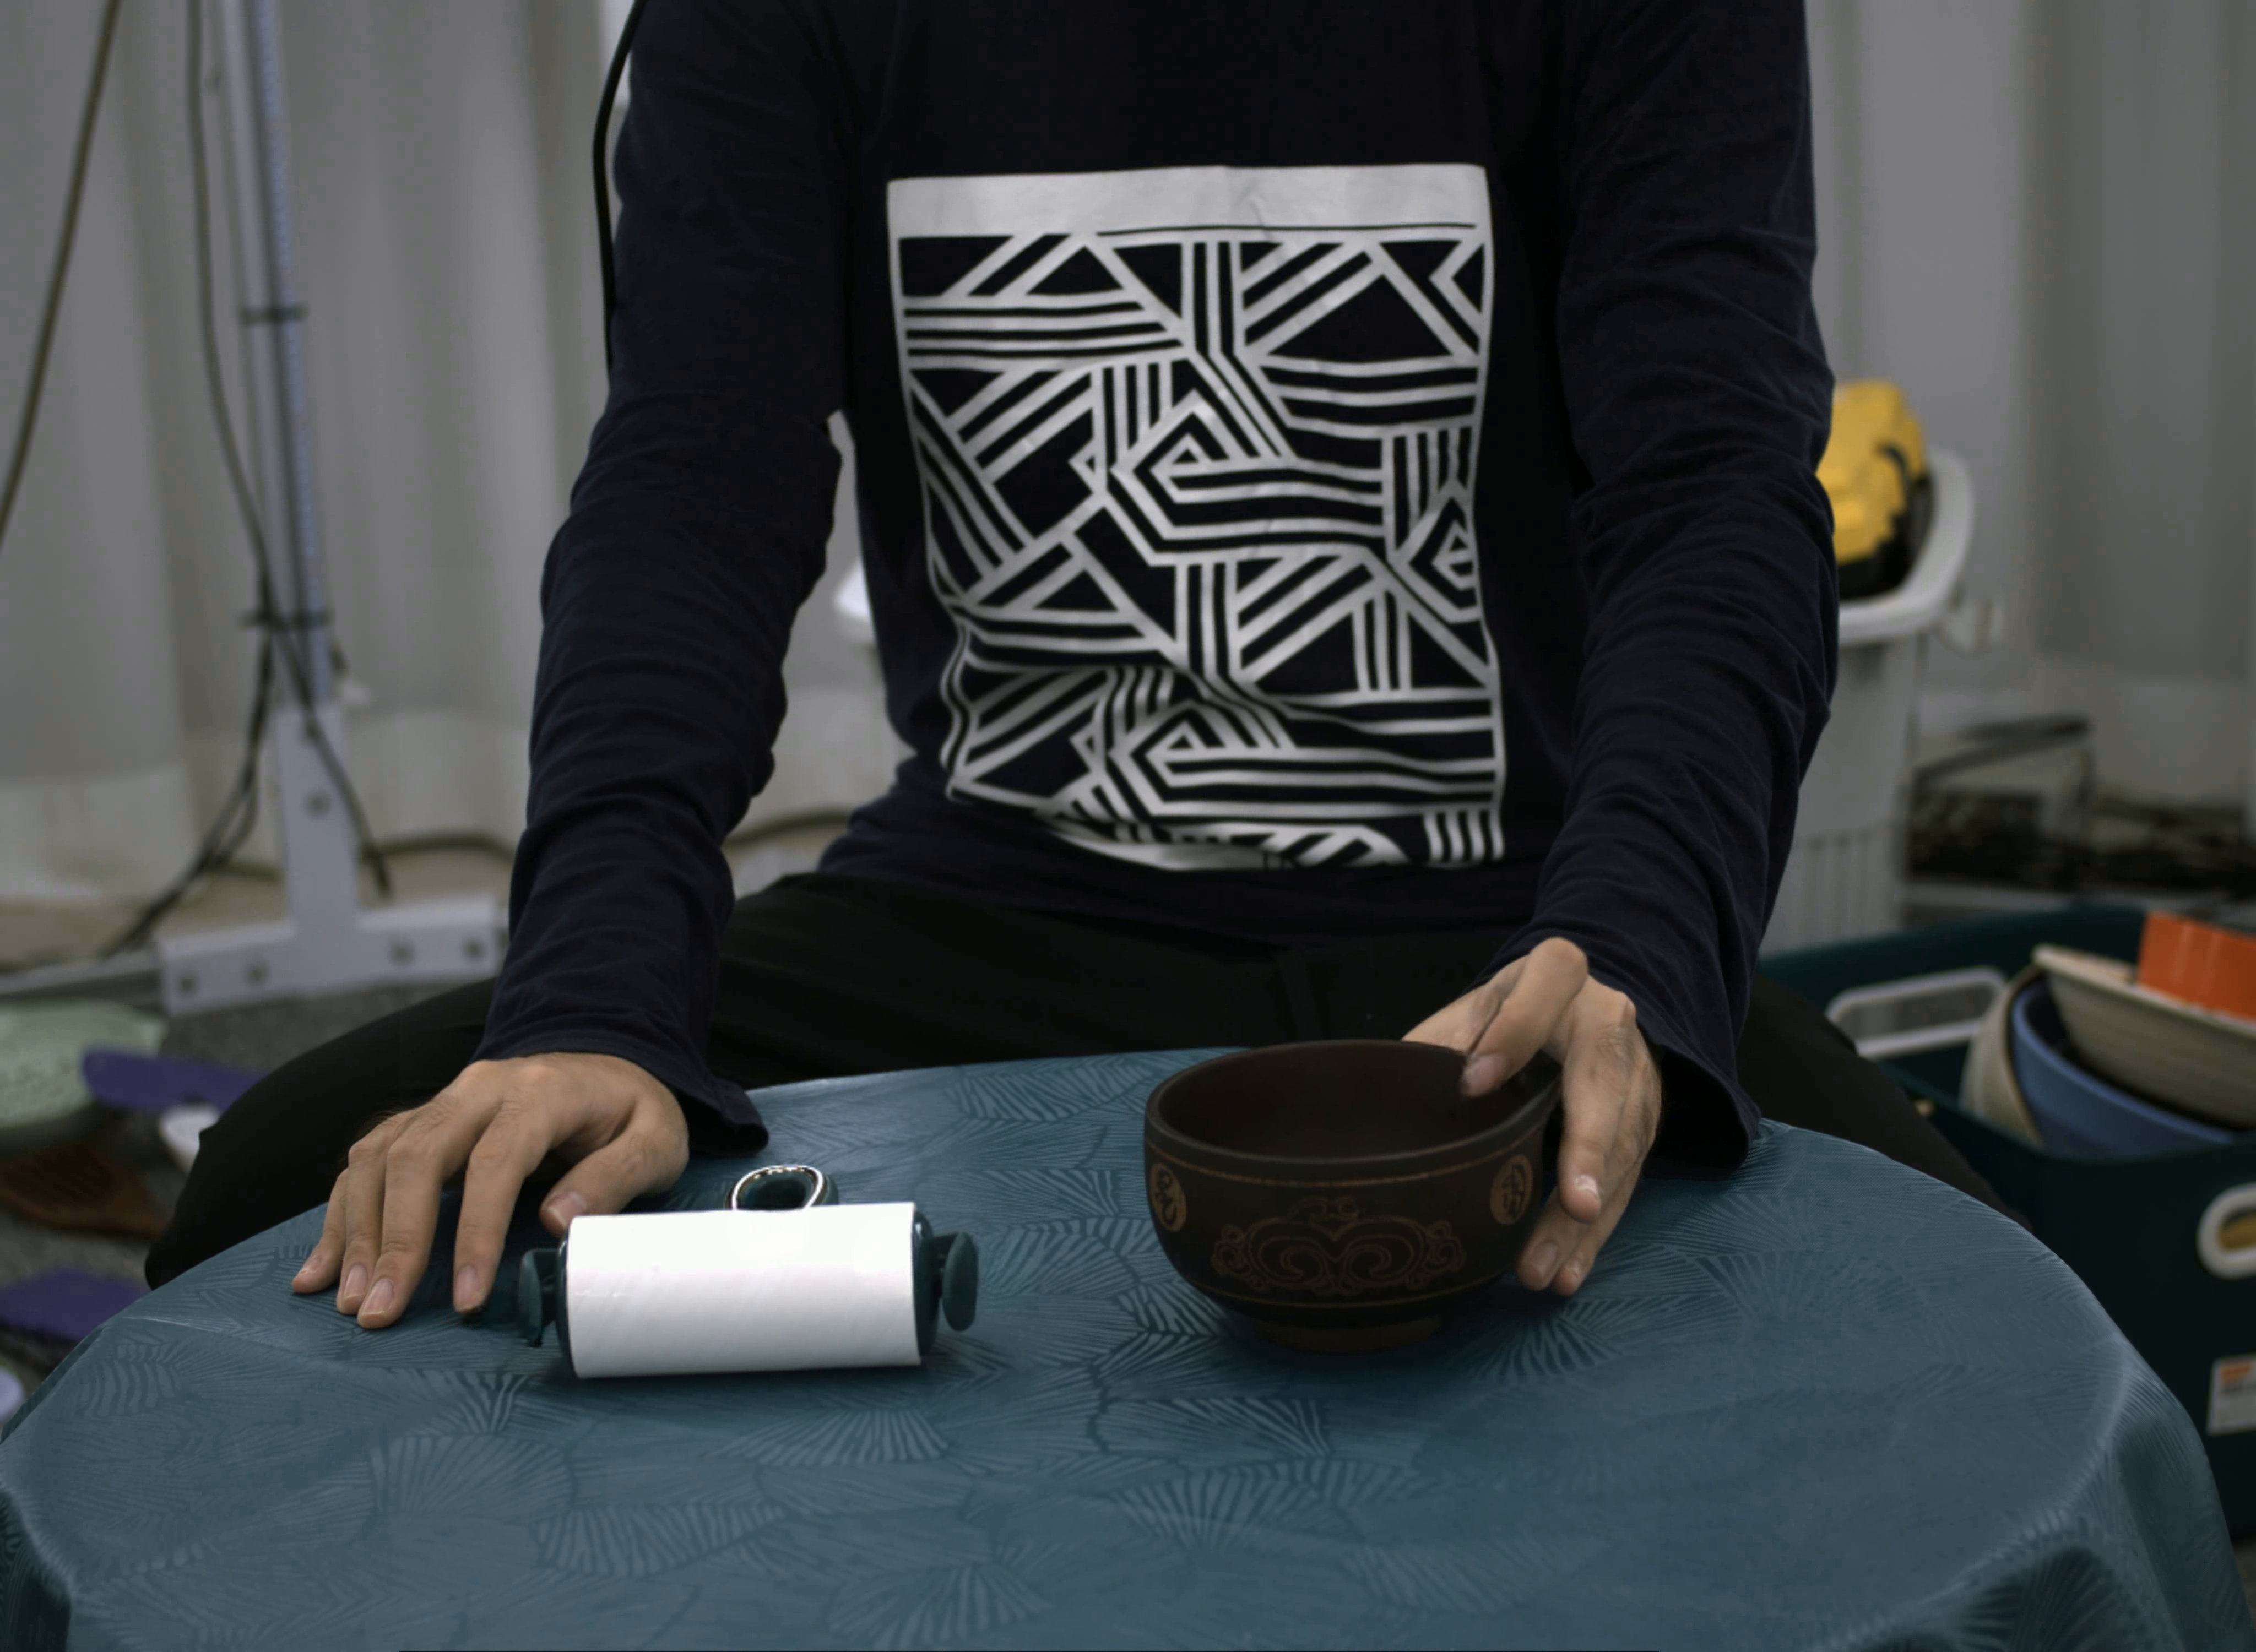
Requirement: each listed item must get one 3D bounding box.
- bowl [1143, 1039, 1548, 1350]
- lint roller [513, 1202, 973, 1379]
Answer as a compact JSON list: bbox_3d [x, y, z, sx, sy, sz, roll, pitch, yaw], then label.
[{"bbox_3d":[0.064,0.110,1.583,0.117,0.069,0.118,-5,12,1],"label":"bowl"},{"bbox_3d":[-0.110,0.120,1.640,0.134,0.048,0.181,-3,12,1],"label":"lint roller"}]
